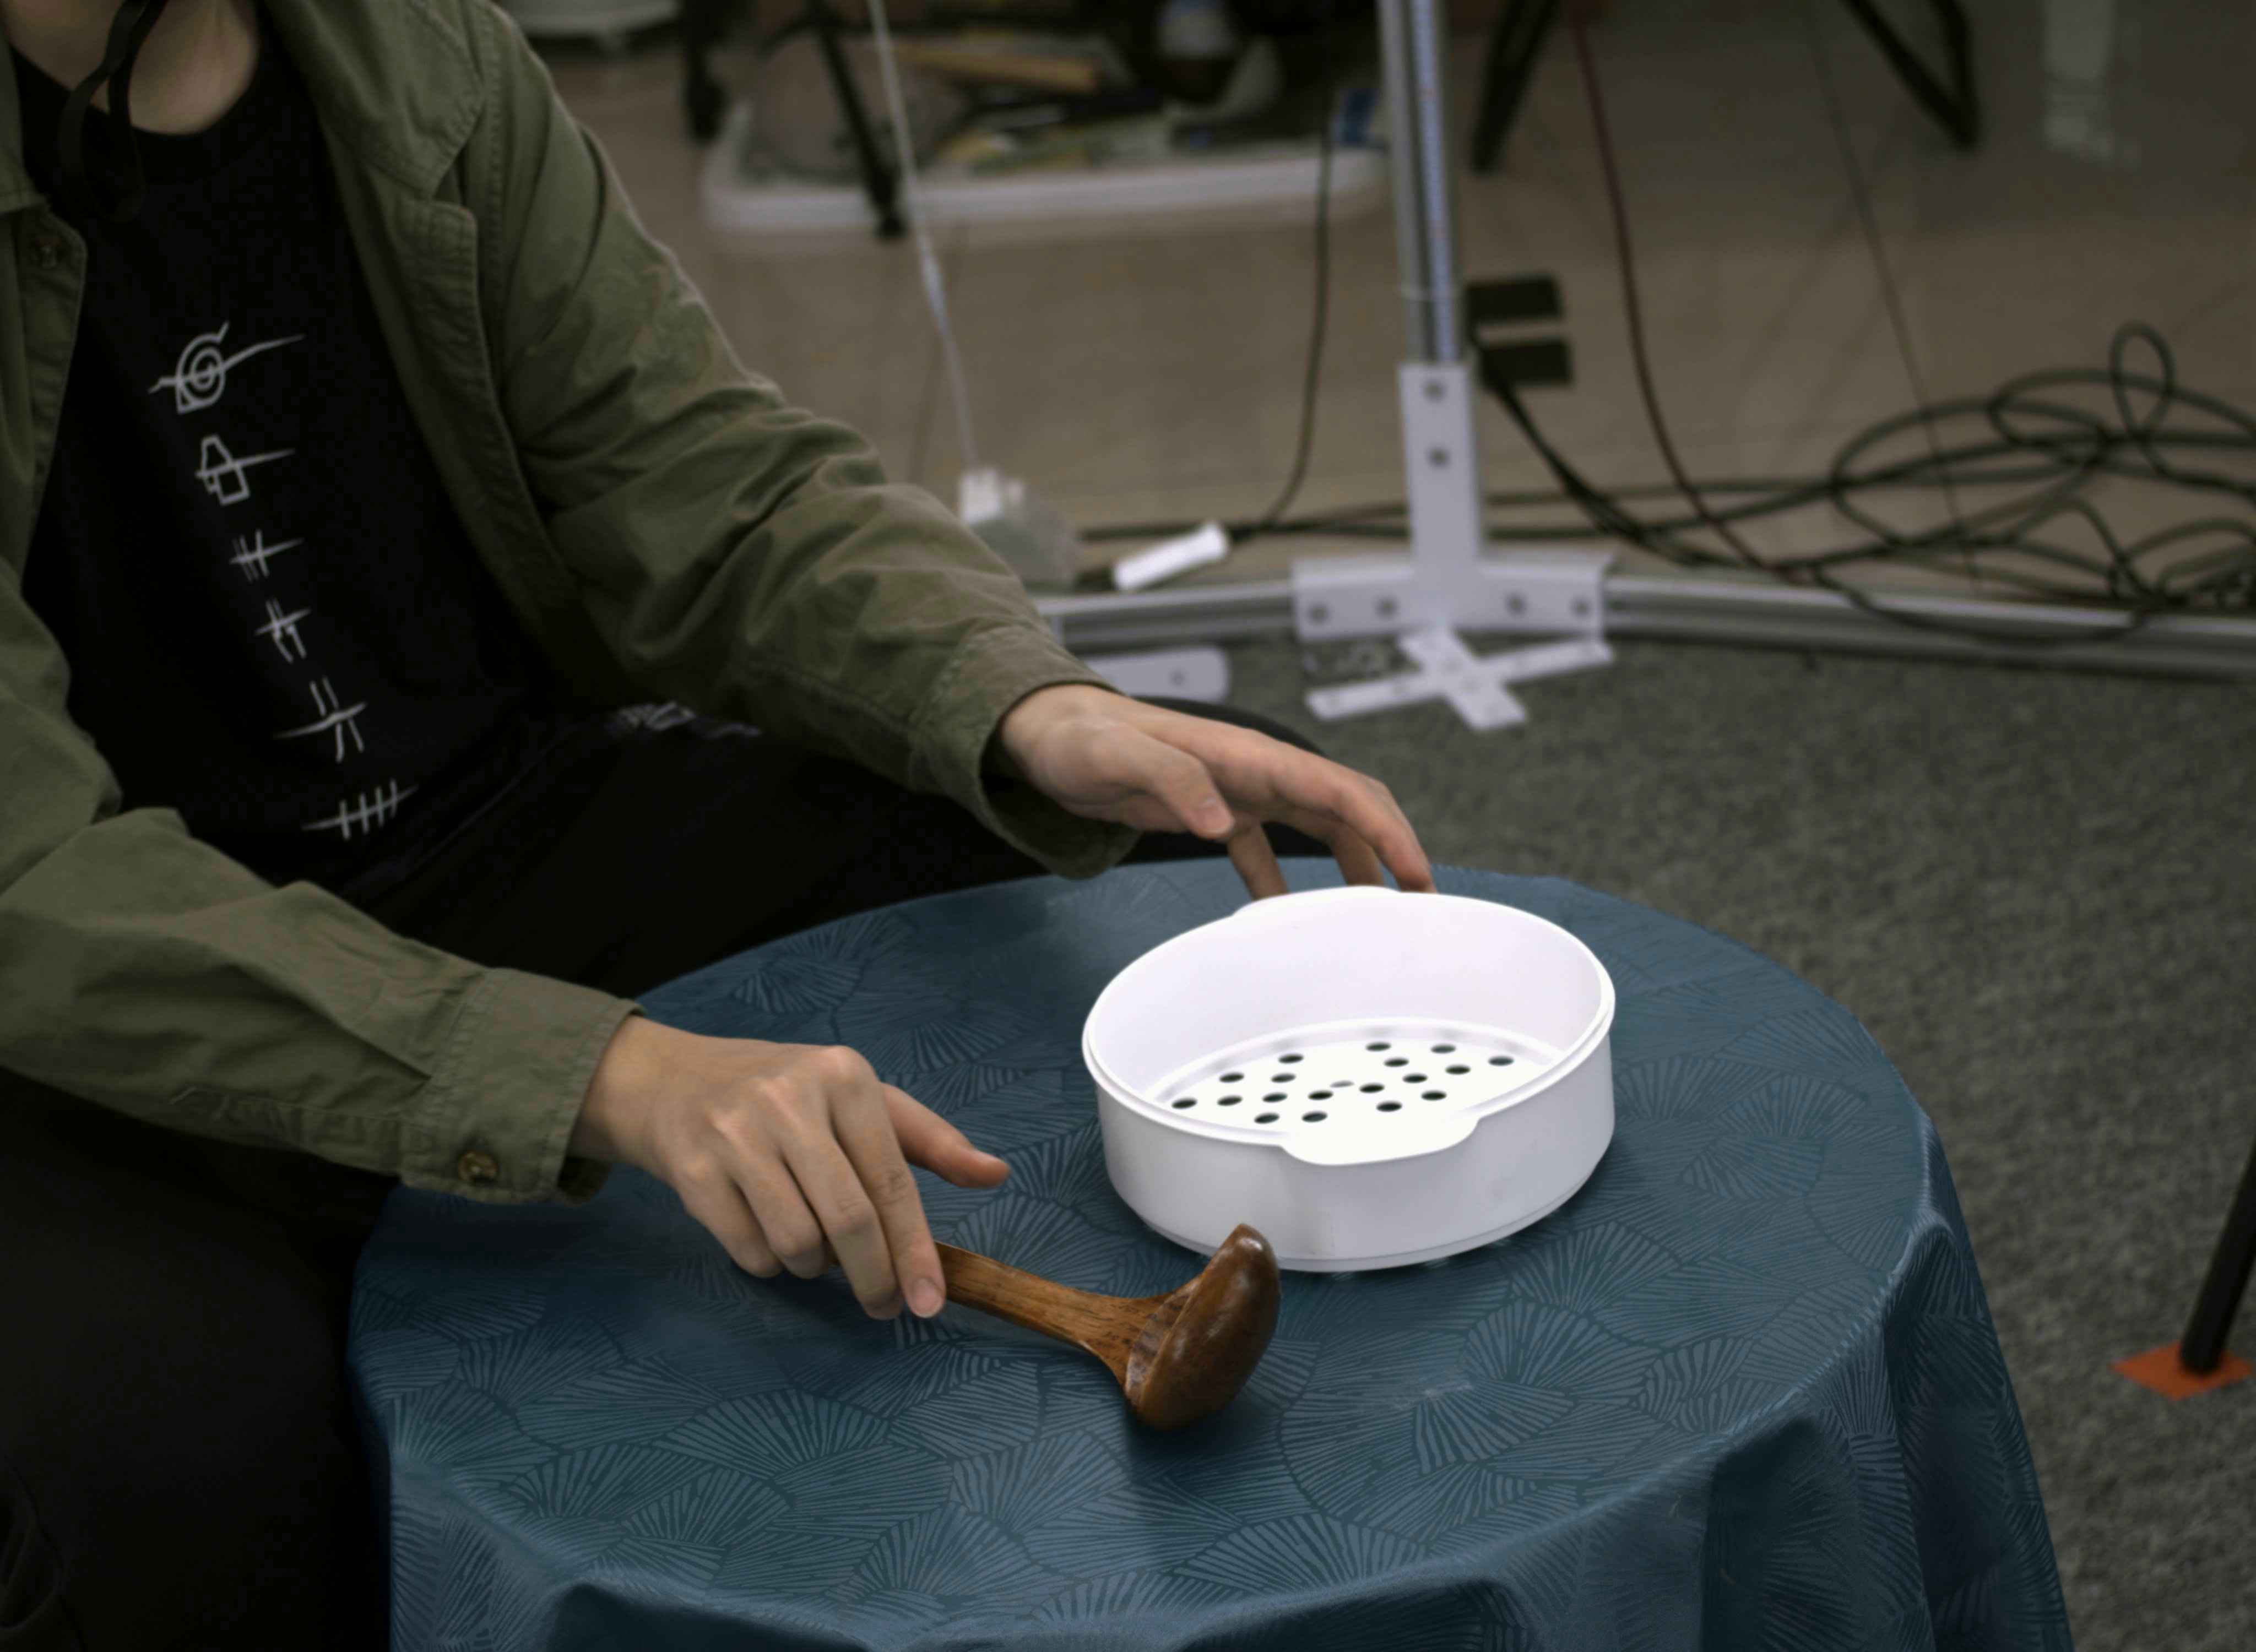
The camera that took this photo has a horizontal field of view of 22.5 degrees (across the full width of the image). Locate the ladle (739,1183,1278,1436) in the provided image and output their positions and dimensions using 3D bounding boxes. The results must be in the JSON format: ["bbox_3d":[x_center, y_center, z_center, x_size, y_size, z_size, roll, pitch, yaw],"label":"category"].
[{"bbox_3d":[-0.056,0.156,2.046,0.272,0.078,0.081,16,60,39],"label":"ladle"}]

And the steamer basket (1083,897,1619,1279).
[{"bbox_3d":[0.086,0.100,2.134,0.201,0.070,0.227,-7,24,-2],"label":"steamer basket"}]
